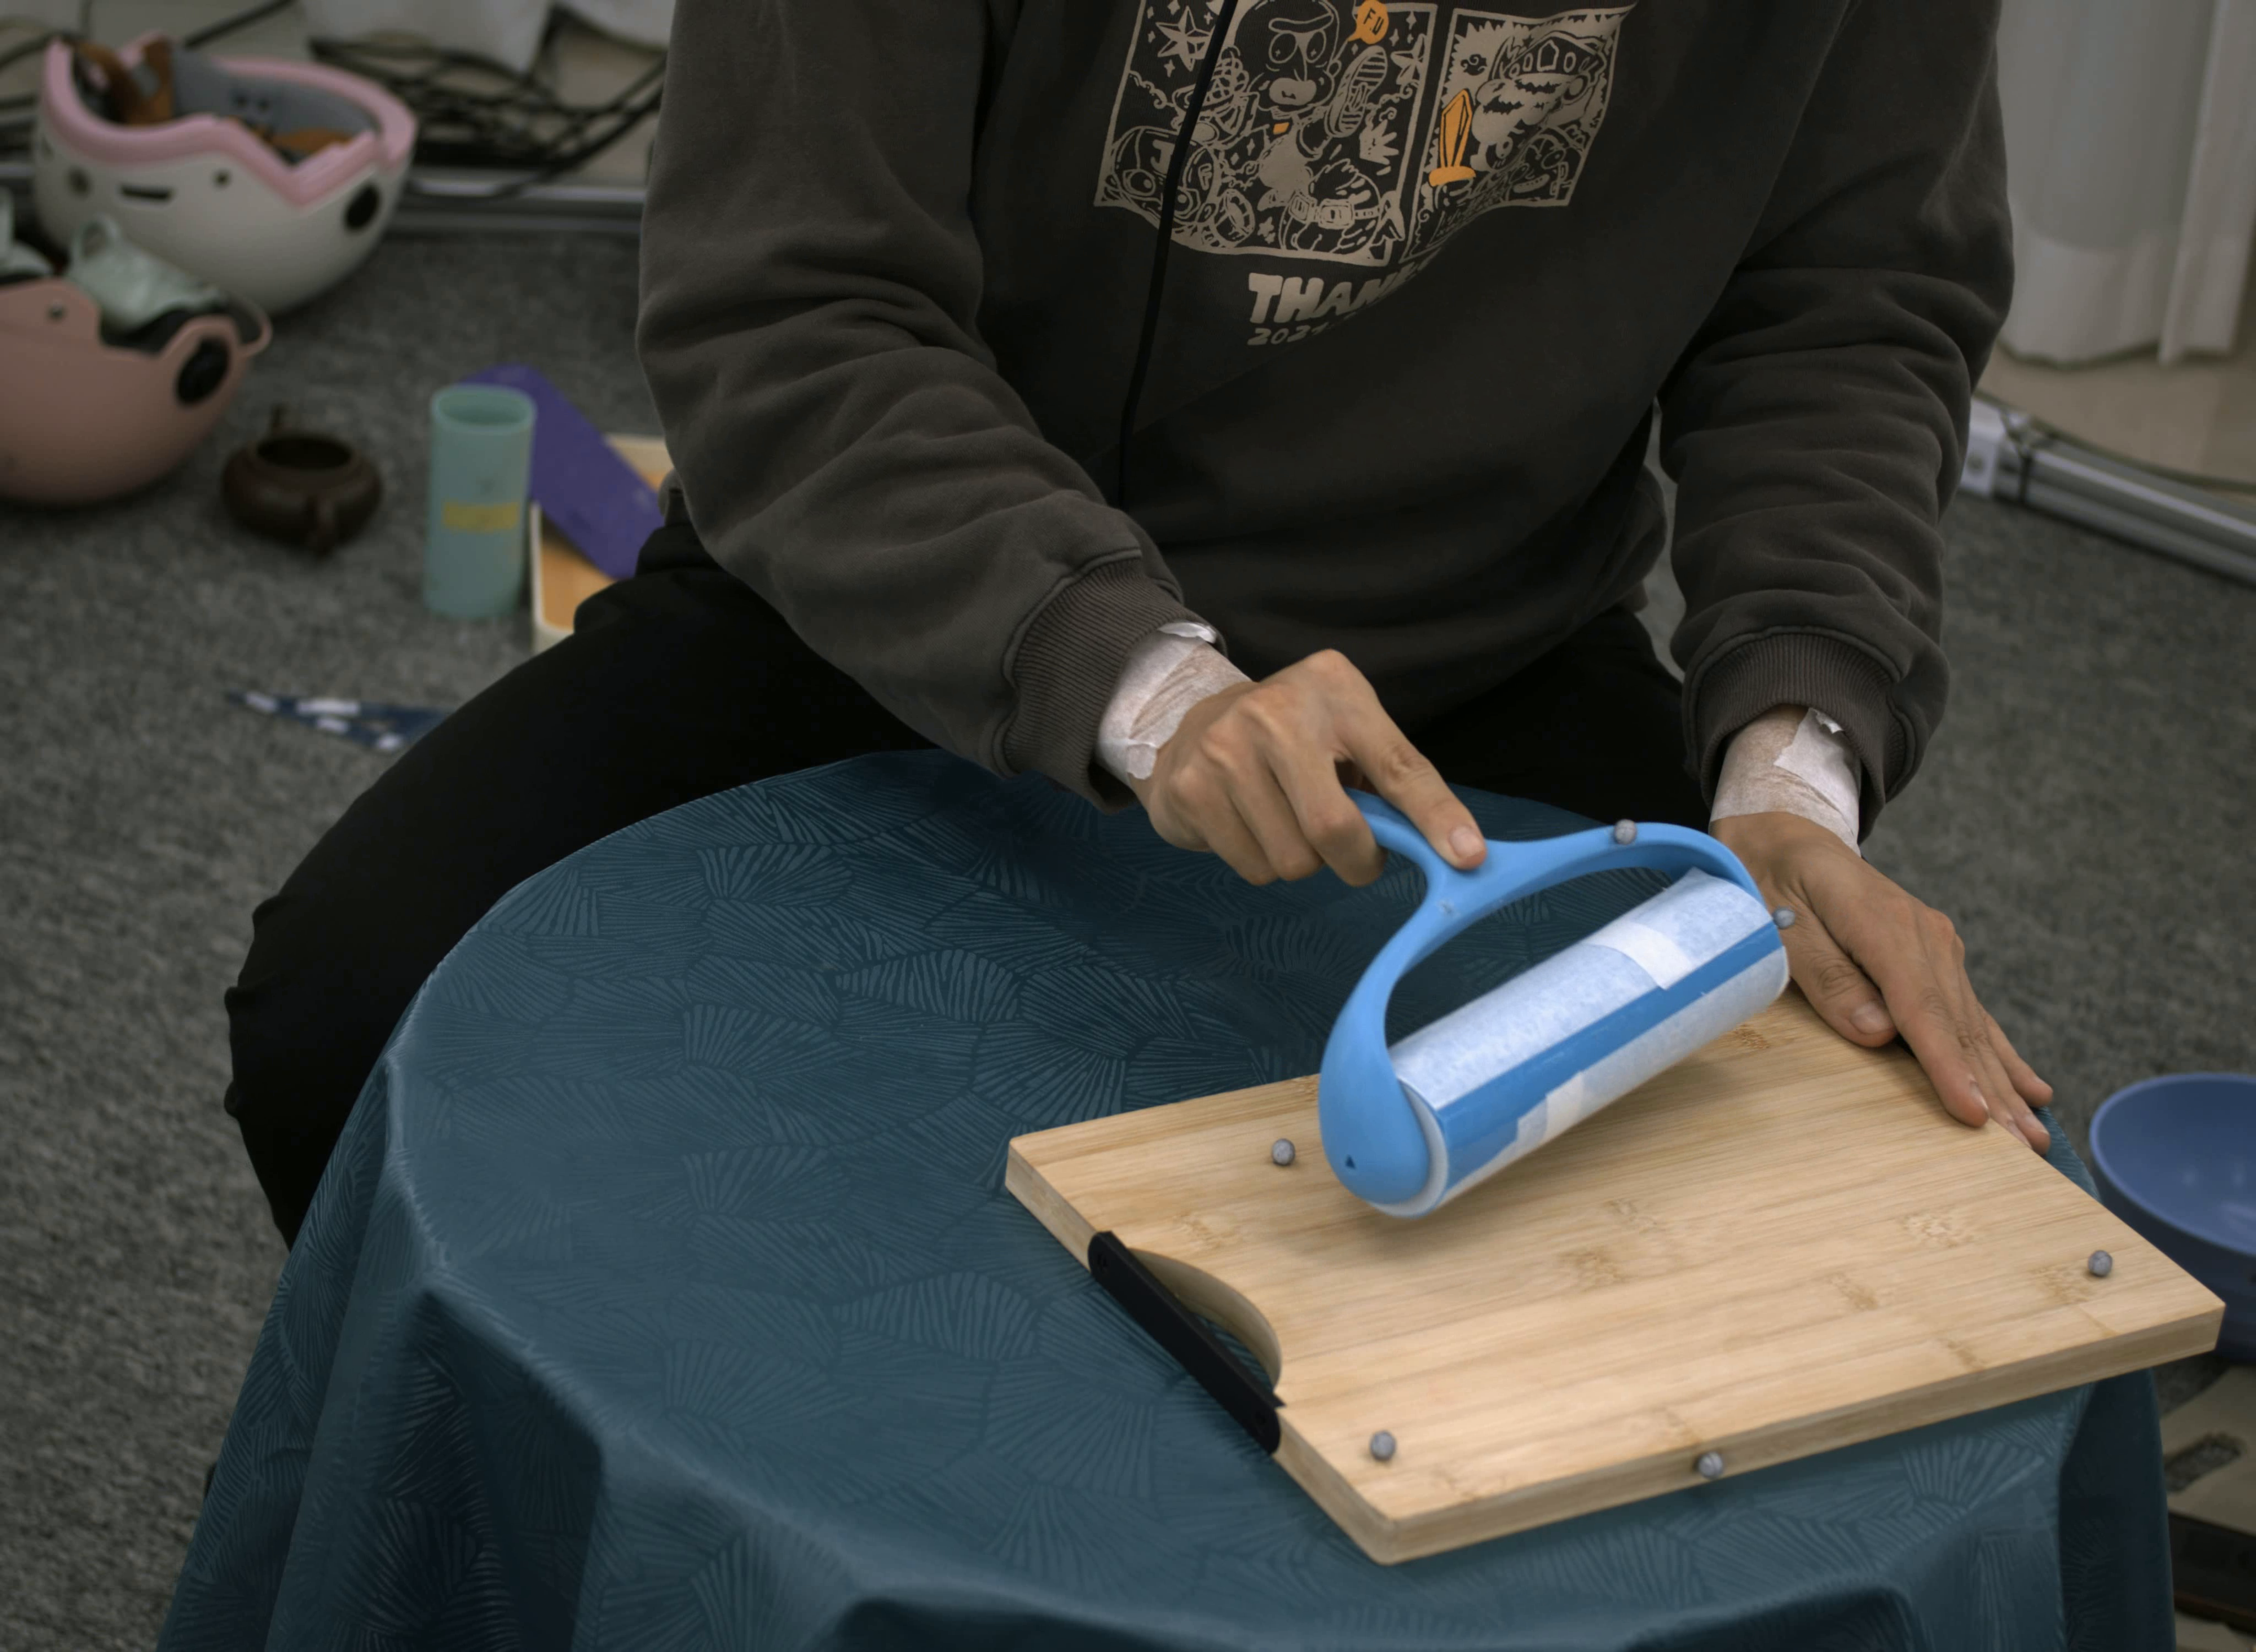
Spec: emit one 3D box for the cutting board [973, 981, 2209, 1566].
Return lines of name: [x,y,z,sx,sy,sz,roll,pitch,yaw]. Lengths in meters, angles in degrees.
cutting board: [0.157,0.142,1.785,0.346,0.023,0.253,-10,30,-30]

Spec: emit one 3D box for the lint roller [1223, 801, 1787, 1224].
lint roller: [0.107,0.037,1.824,0.181,0.068,0.228,40,42,18]
